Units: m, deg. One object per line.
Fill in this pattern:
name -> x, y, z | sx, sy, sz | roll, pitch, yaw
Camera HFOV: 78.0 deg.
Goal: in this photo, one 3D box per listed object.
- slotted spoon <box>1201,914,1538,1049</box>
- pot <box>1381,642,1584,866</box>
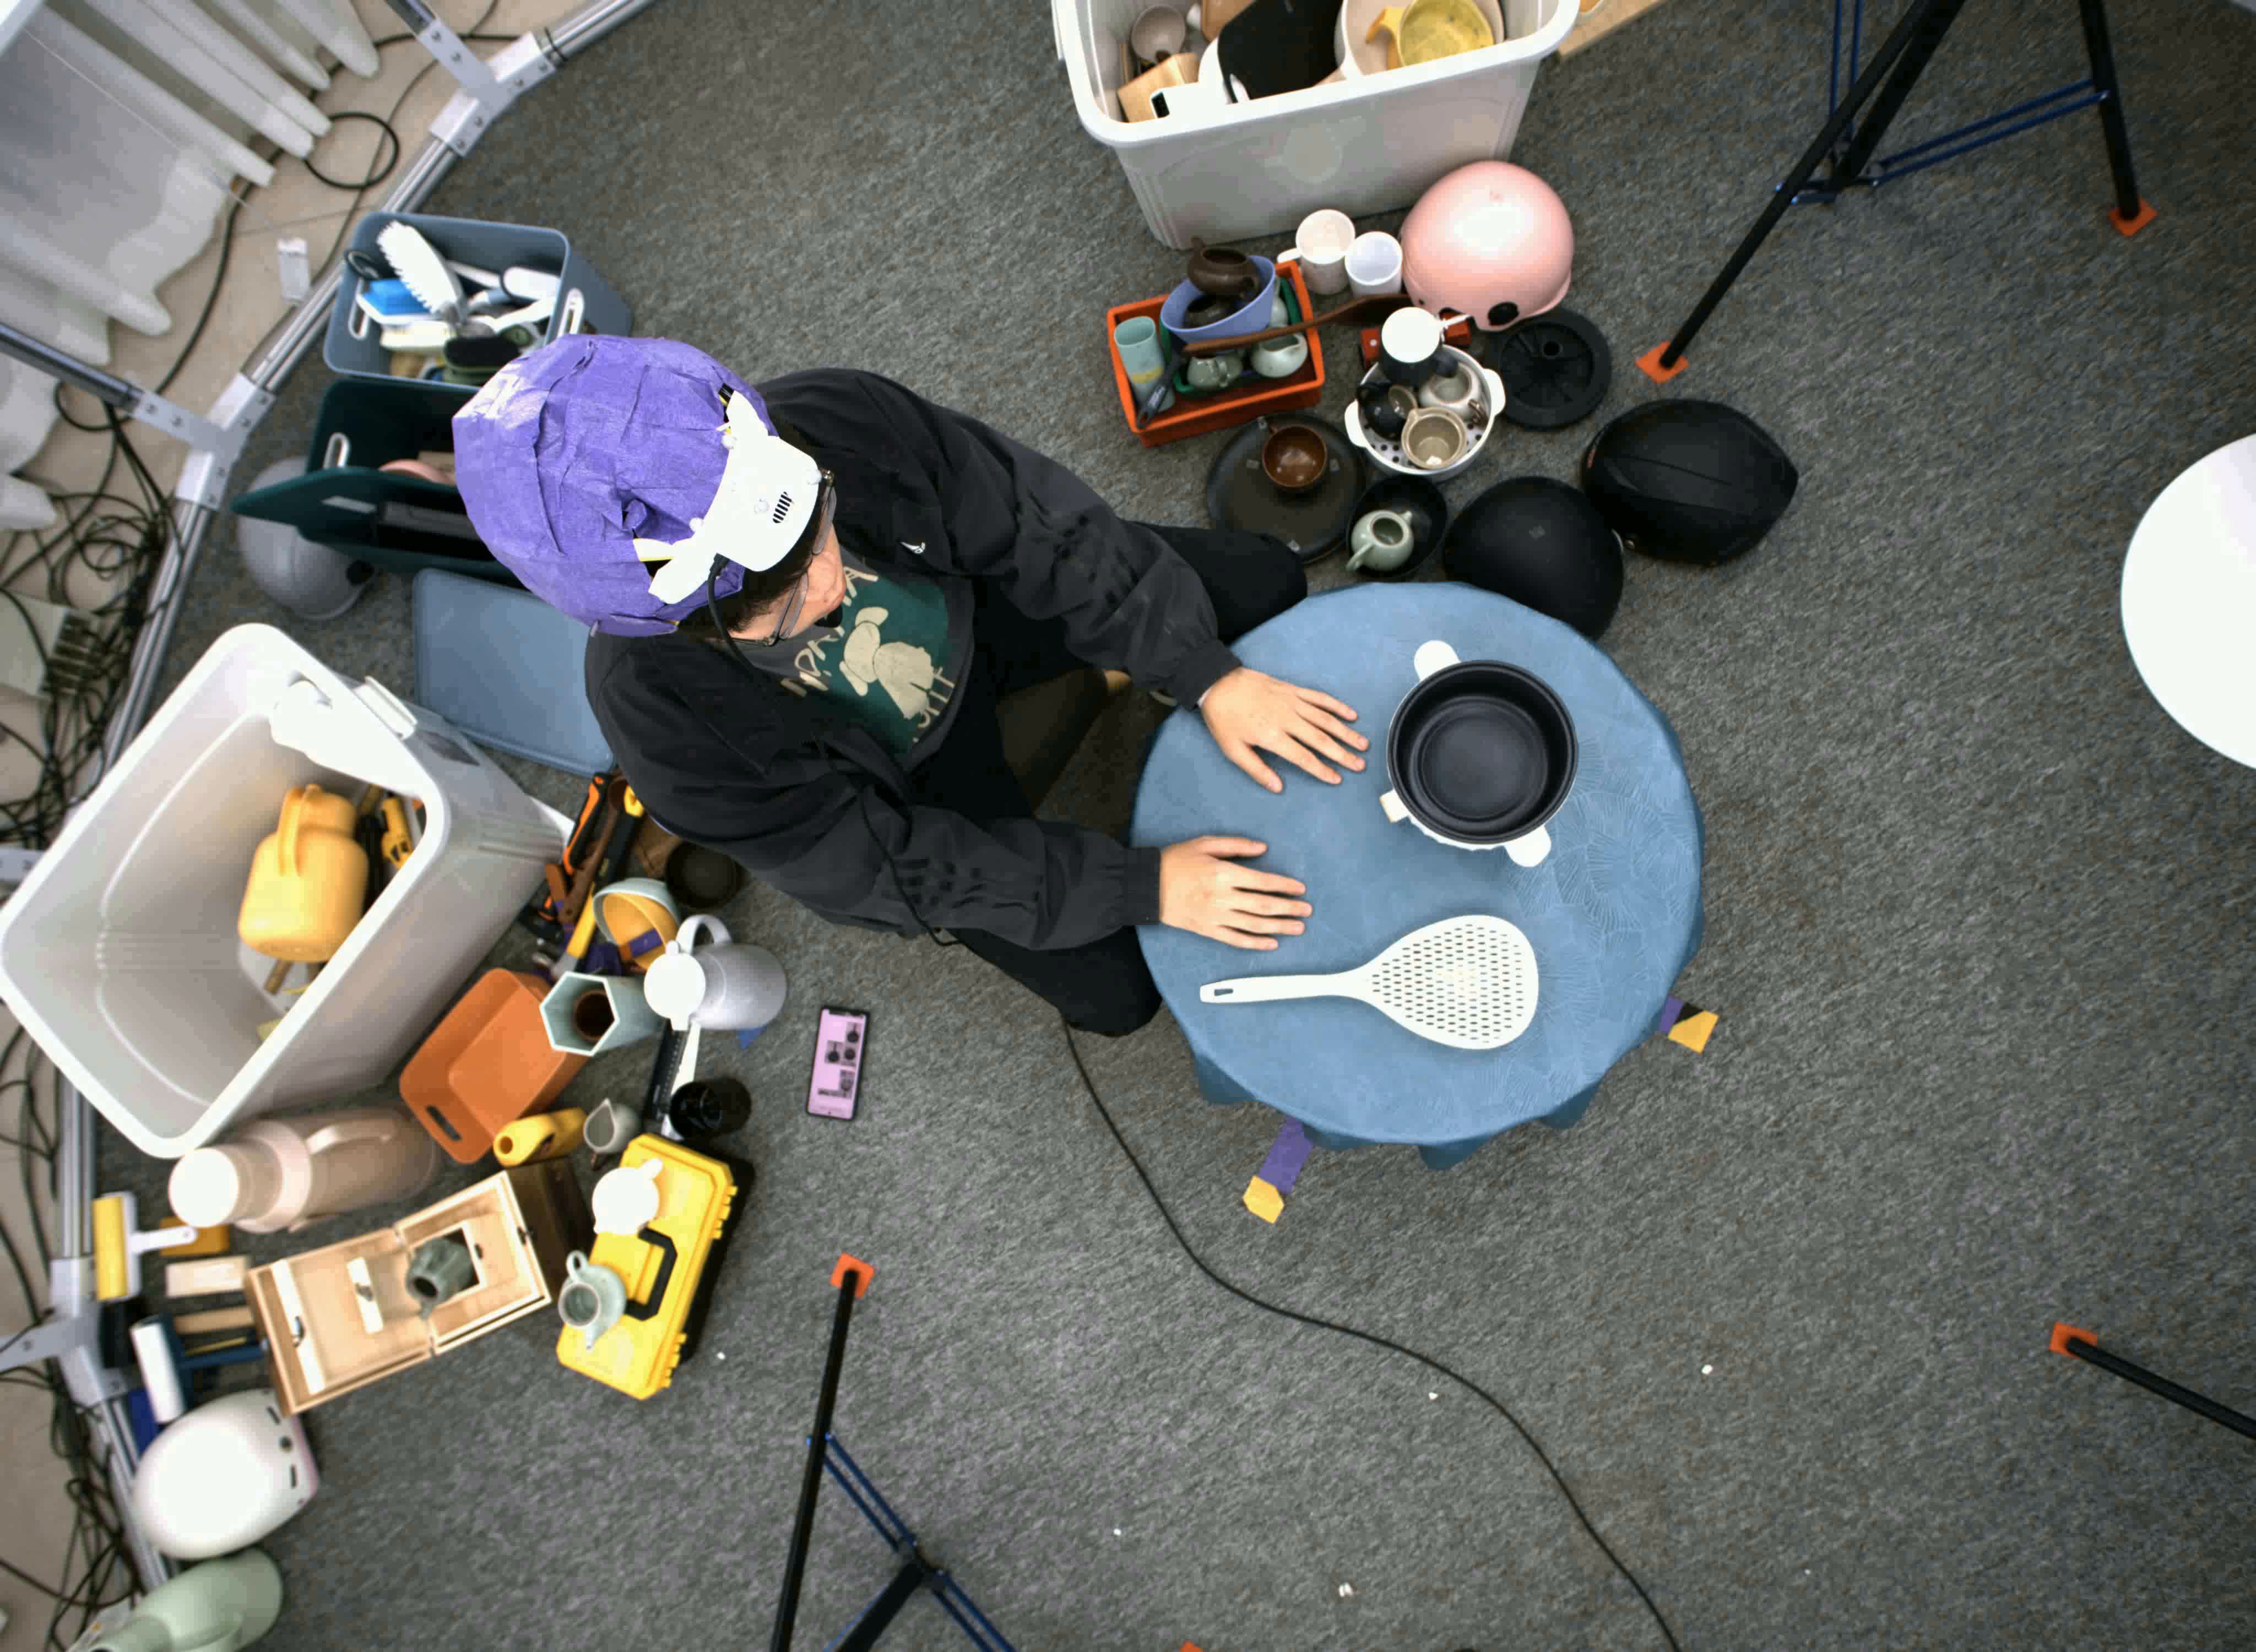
slotted spoon -> 0.245, 0.164, 1.437 | 0.349, 0.050, 0.136 | -4, 88, 10
pot -> 0.348, -0.063, 1.380 | 0.191, 0.143, 0.238 | -26, 81, 5
